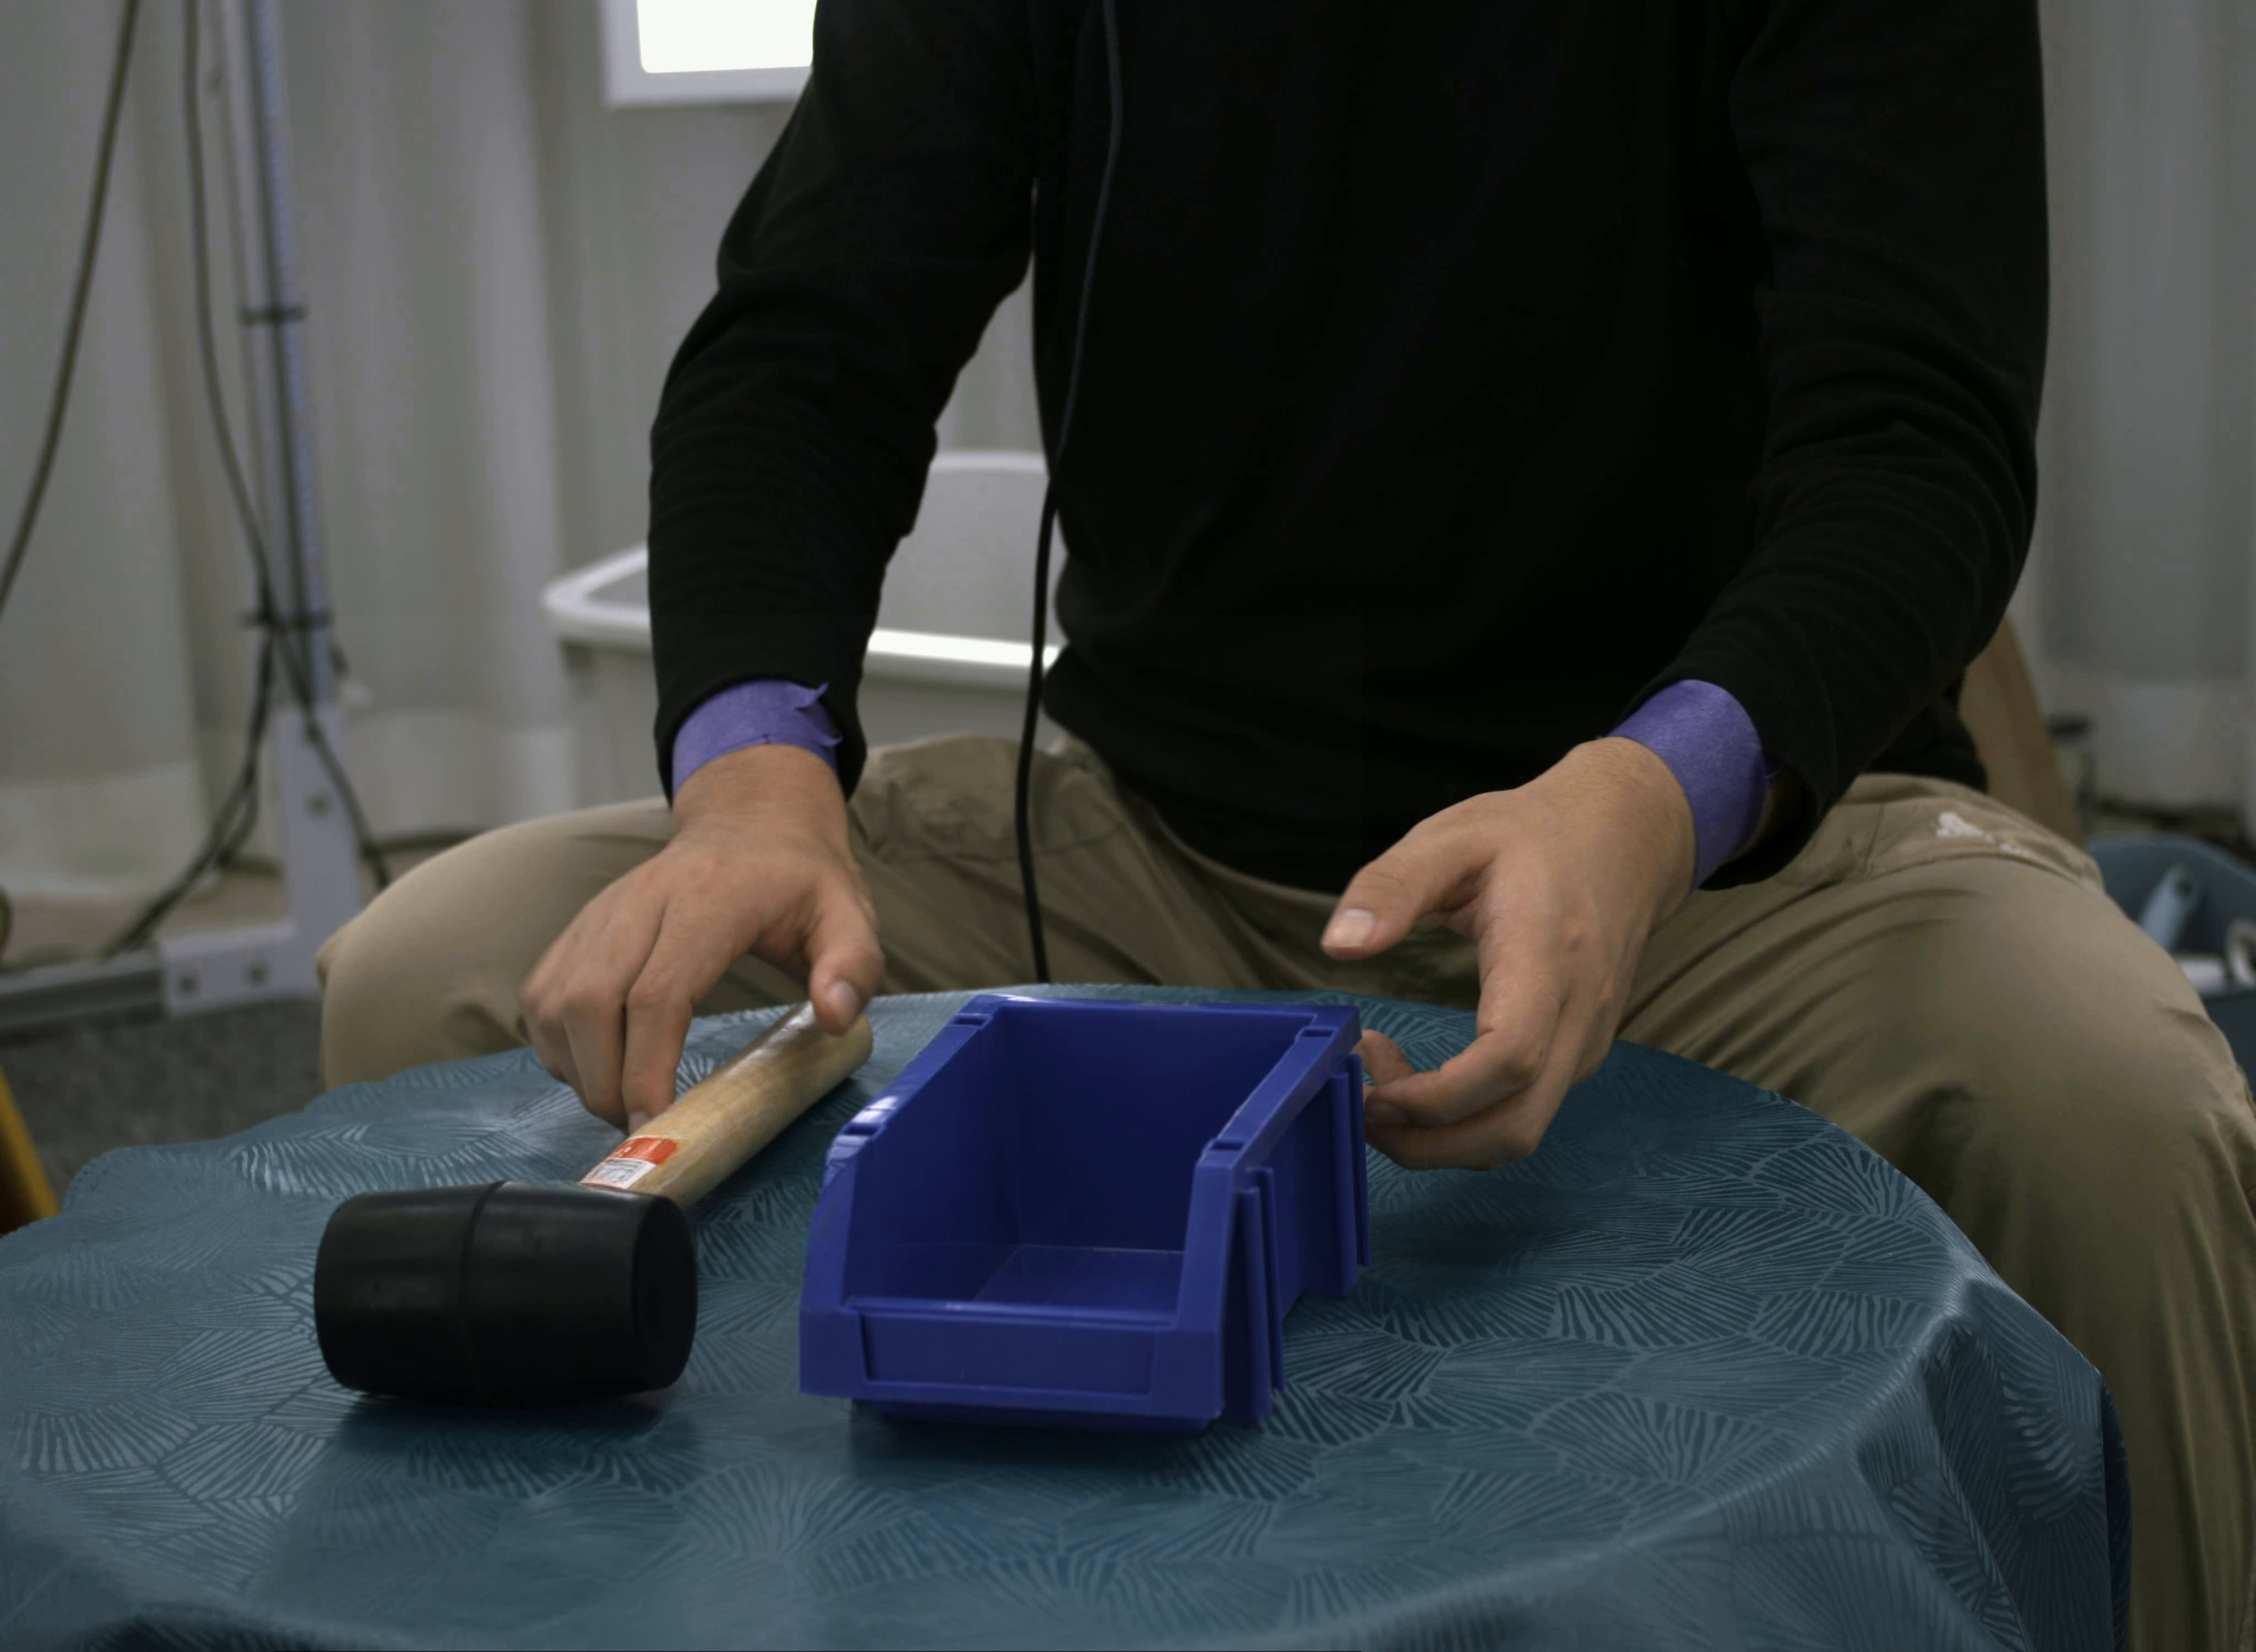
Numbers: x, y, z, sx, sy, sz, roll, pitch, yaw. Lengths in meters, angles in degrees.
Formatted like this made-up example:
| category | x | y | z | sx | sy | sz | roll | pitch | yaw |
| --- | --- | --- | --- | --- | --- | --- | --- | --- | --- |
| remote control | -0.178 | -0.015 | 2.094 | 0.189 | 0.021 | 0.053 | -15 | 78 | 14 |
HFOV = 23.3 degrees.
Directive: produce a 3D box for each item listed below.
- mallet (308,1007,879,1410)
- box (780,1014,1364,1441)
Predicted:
| category | x | y | z | sx | sy | sz | roll | pitch | yaw |
| --- | --- | --- | --- | --- | --- | --- | --- | --- | --- |
| mallet | -0.143 | 0.099 | 1.685 | 0.102 | 0.064 | 0.340 | 2 | 15 | 15 |
| box | -0.011 | 0.116 | 1.555 | 0.124 | 0.081 | 0.180 | 2 | 12 | 17 |
